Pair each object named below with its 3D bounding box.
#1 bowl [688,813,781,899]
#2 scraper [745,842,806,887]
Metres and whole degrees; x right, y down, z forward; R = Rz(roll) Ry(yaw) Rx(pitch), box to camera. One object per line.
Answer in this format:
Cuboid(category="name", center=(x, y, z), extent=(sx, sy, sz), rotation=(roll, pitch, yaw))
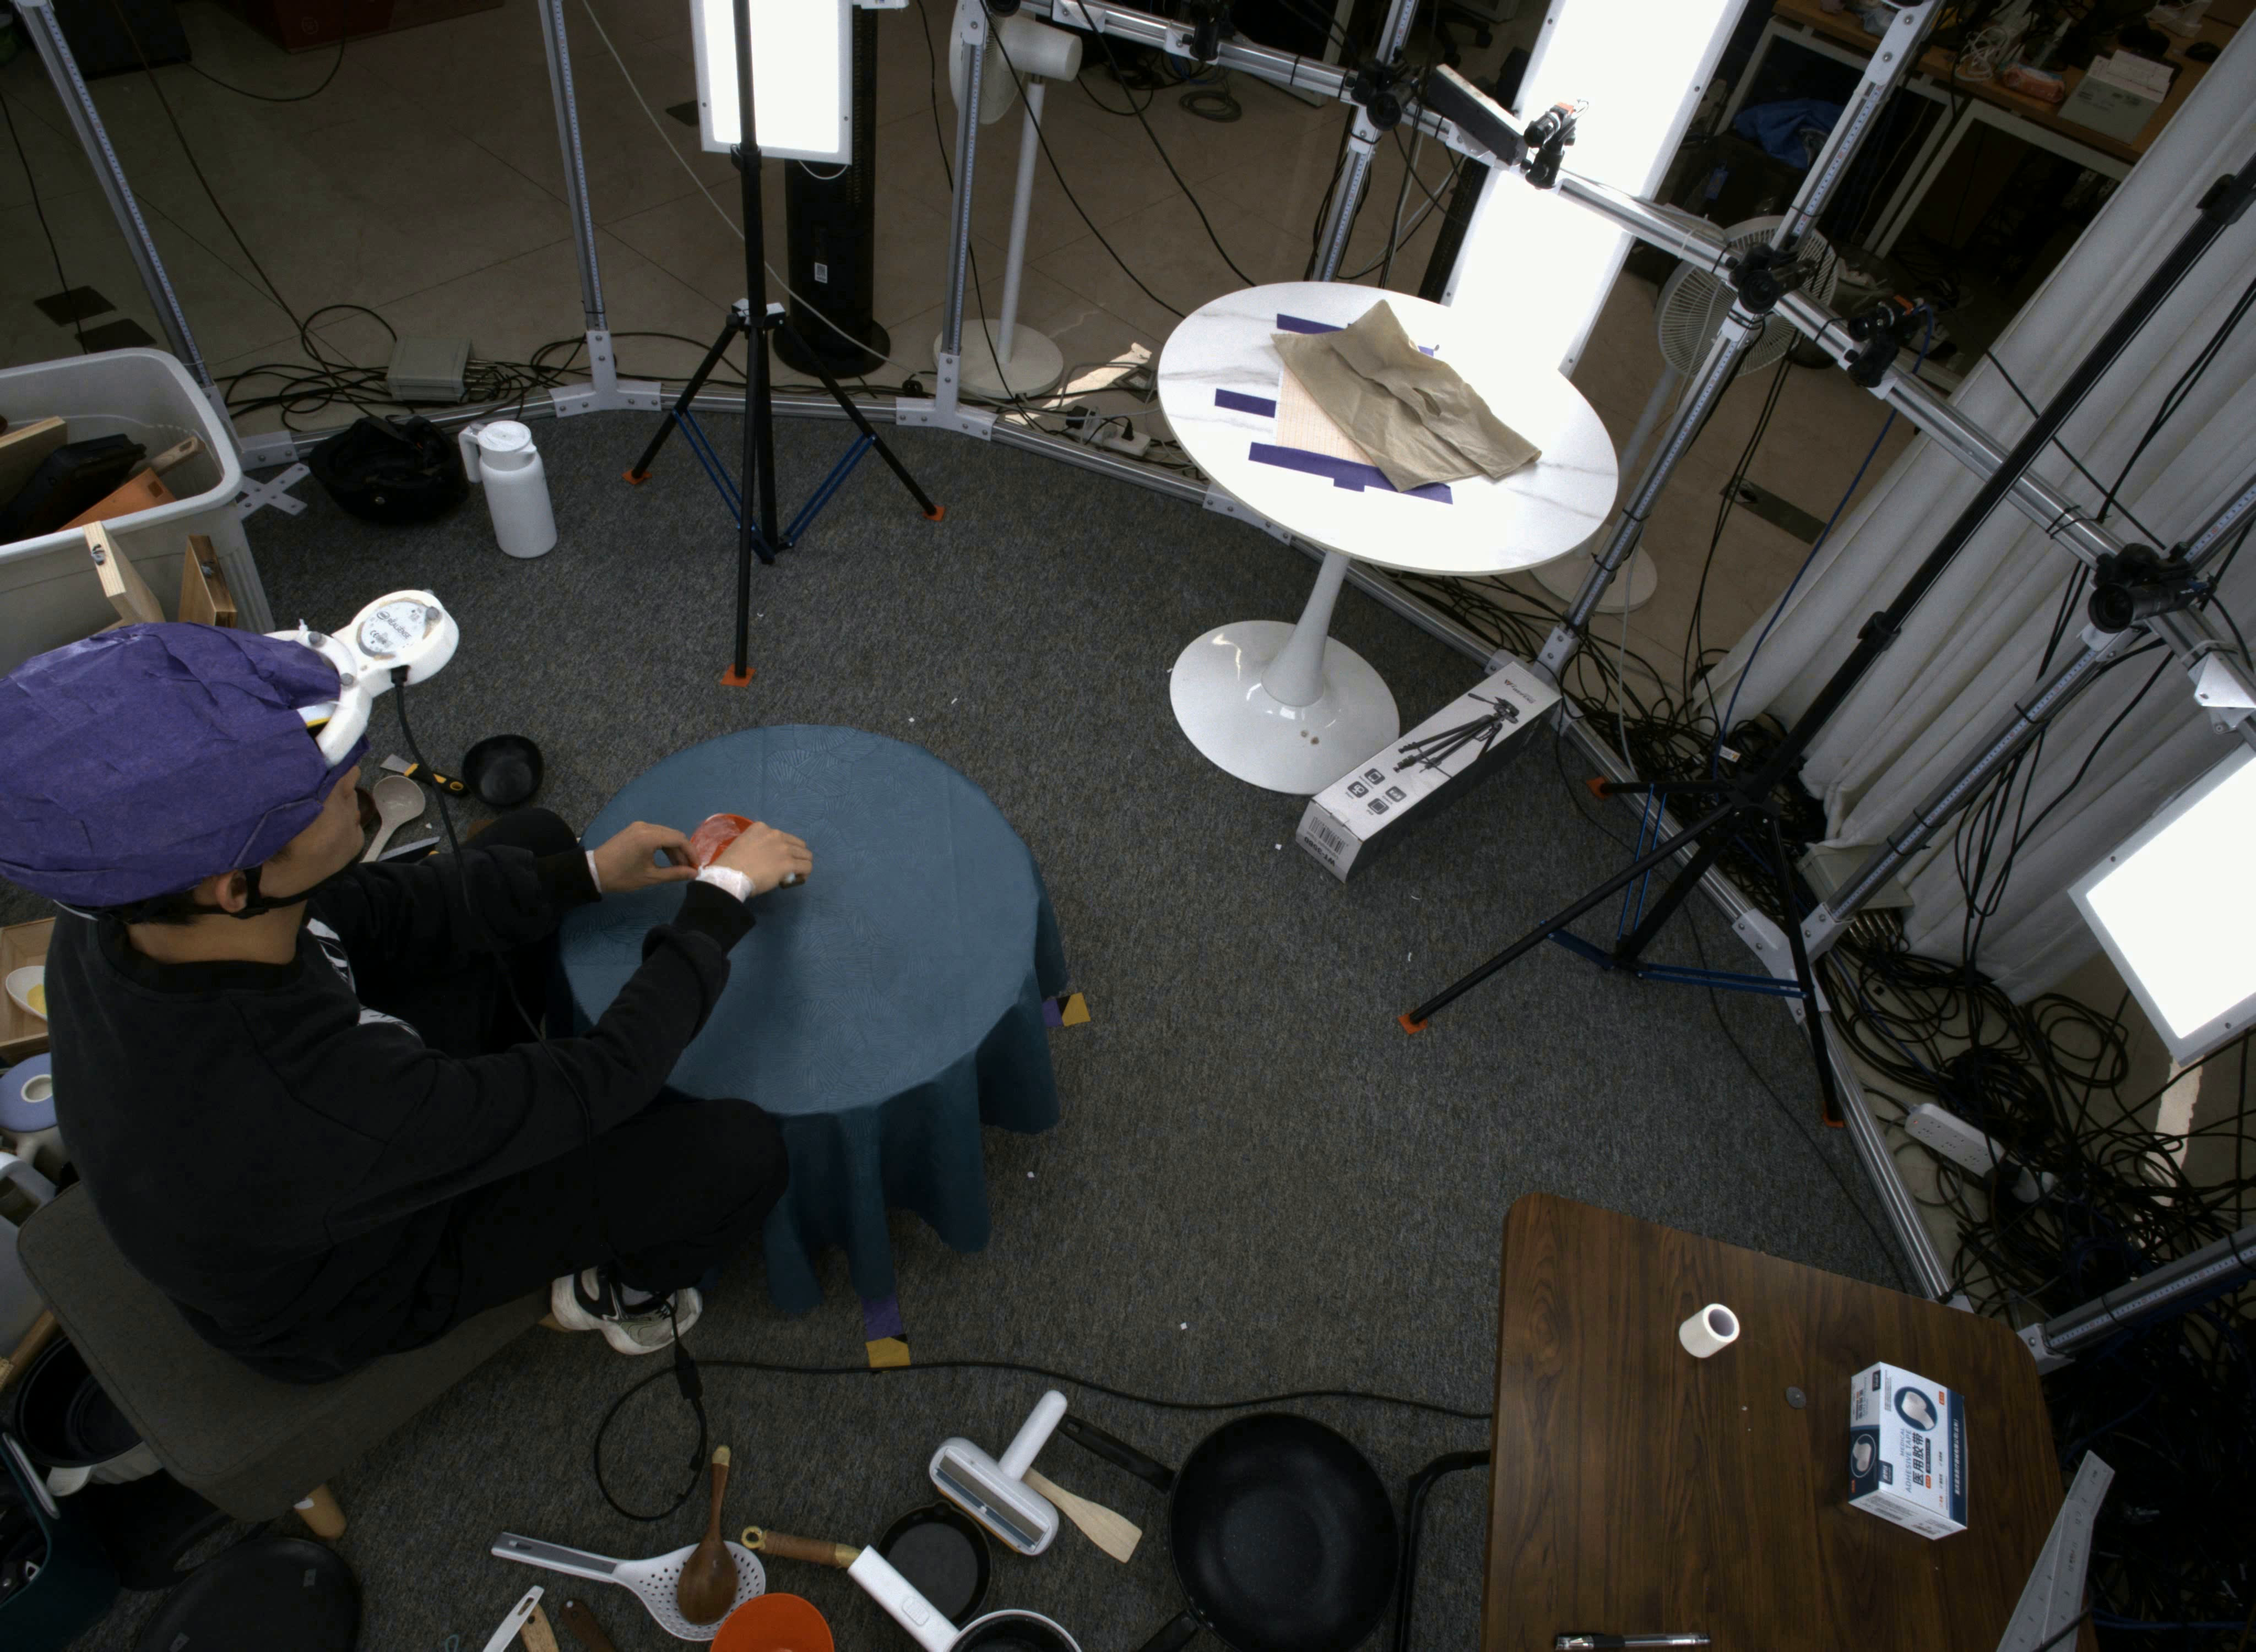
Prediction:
Cuboid(category="bowl", center=(-0.501, 0.044, 1.633), extent=(0.120, 0.051, 0.116), rotation=(20, 46, -20))
Cuboid(category="scraper", center=(-0.411, 0.047, 1.541), extent=(0.076, 0.205, 0.011), rotation=(-18, 104, -18))
